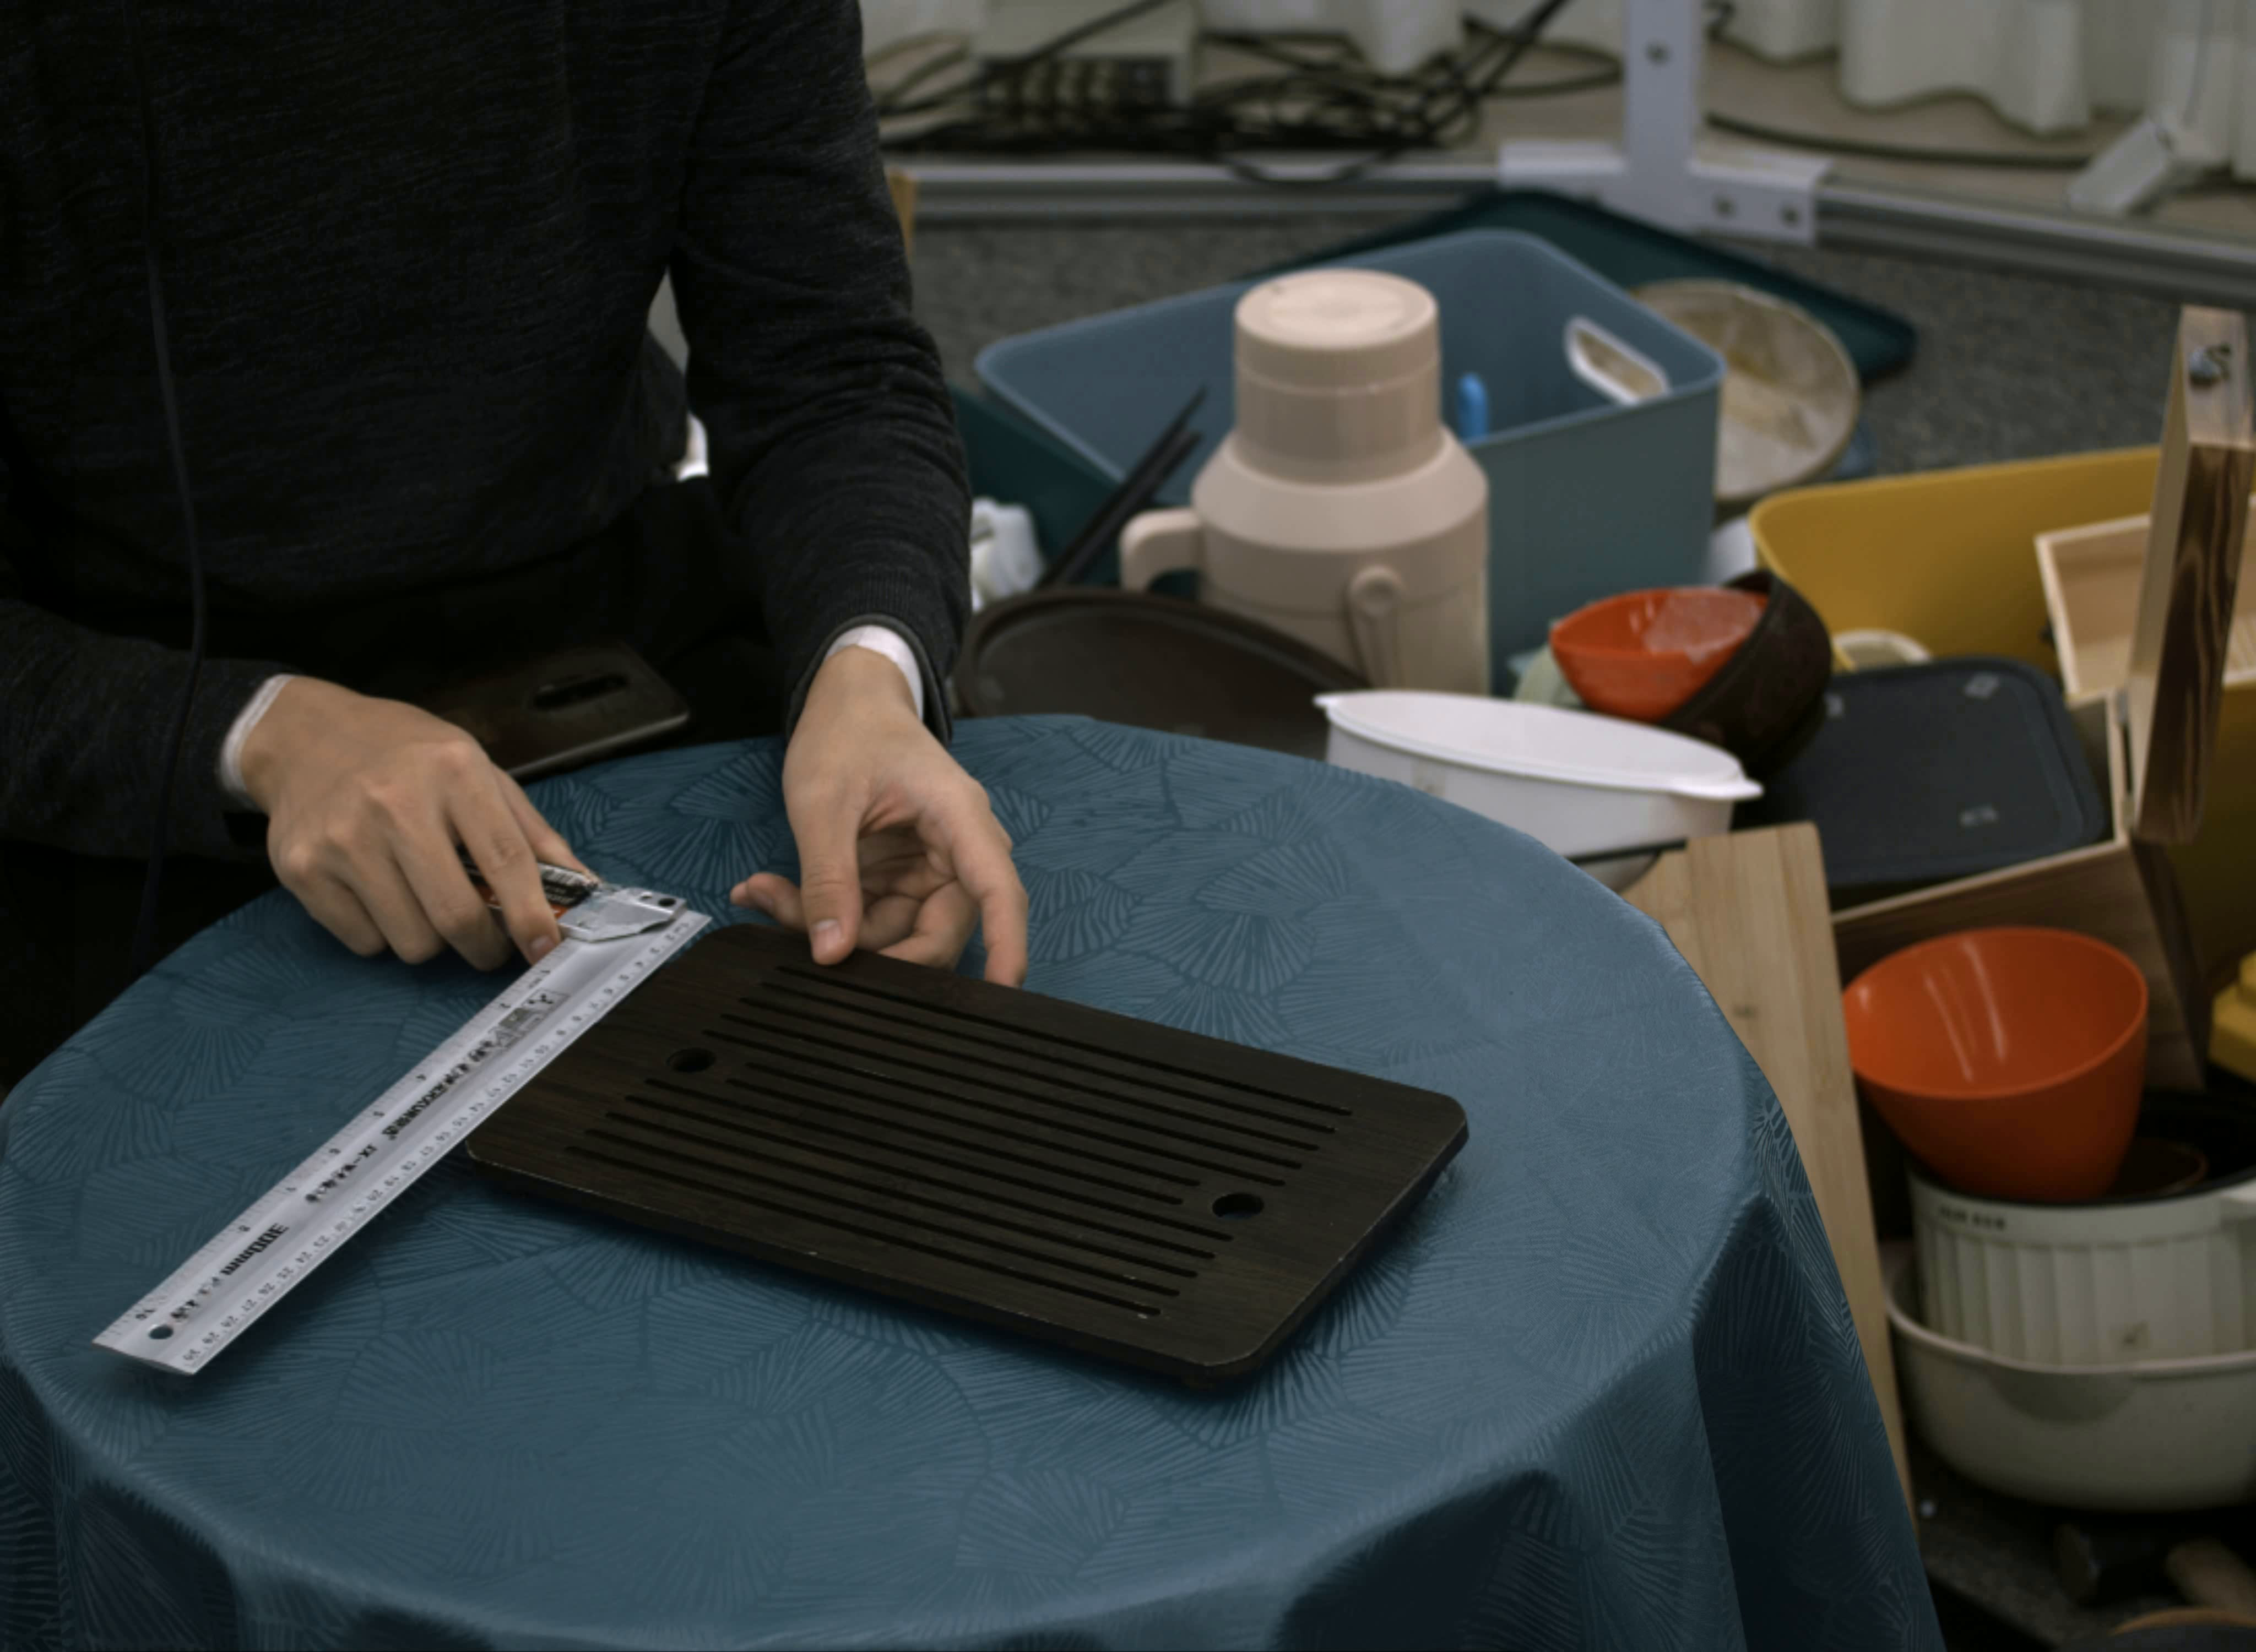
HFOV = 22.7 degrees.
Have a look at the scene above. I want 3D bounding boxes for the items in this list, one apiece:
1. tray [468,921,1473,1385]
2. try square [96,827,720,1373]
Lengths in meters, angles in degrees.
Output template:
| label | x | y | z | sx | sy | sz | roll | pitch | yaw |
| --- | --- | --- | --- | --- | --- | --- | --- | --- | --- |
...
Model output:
| label | x | y | z | sx | sy | sz | roll | pitch | yaw |
| --- | --- | --- | --- | --- | --- | --- | --- | --- | --- |
| tray | -0.053 | 0.106 | 1.872 | 0.304 | 0.018 | 0.173 | 13 | 33 | 28 |
| try square | -0.283 | 0.088 | 1.915 | 0.151 | 0.016 | 0.318 | 12 | 32 | 26 |
